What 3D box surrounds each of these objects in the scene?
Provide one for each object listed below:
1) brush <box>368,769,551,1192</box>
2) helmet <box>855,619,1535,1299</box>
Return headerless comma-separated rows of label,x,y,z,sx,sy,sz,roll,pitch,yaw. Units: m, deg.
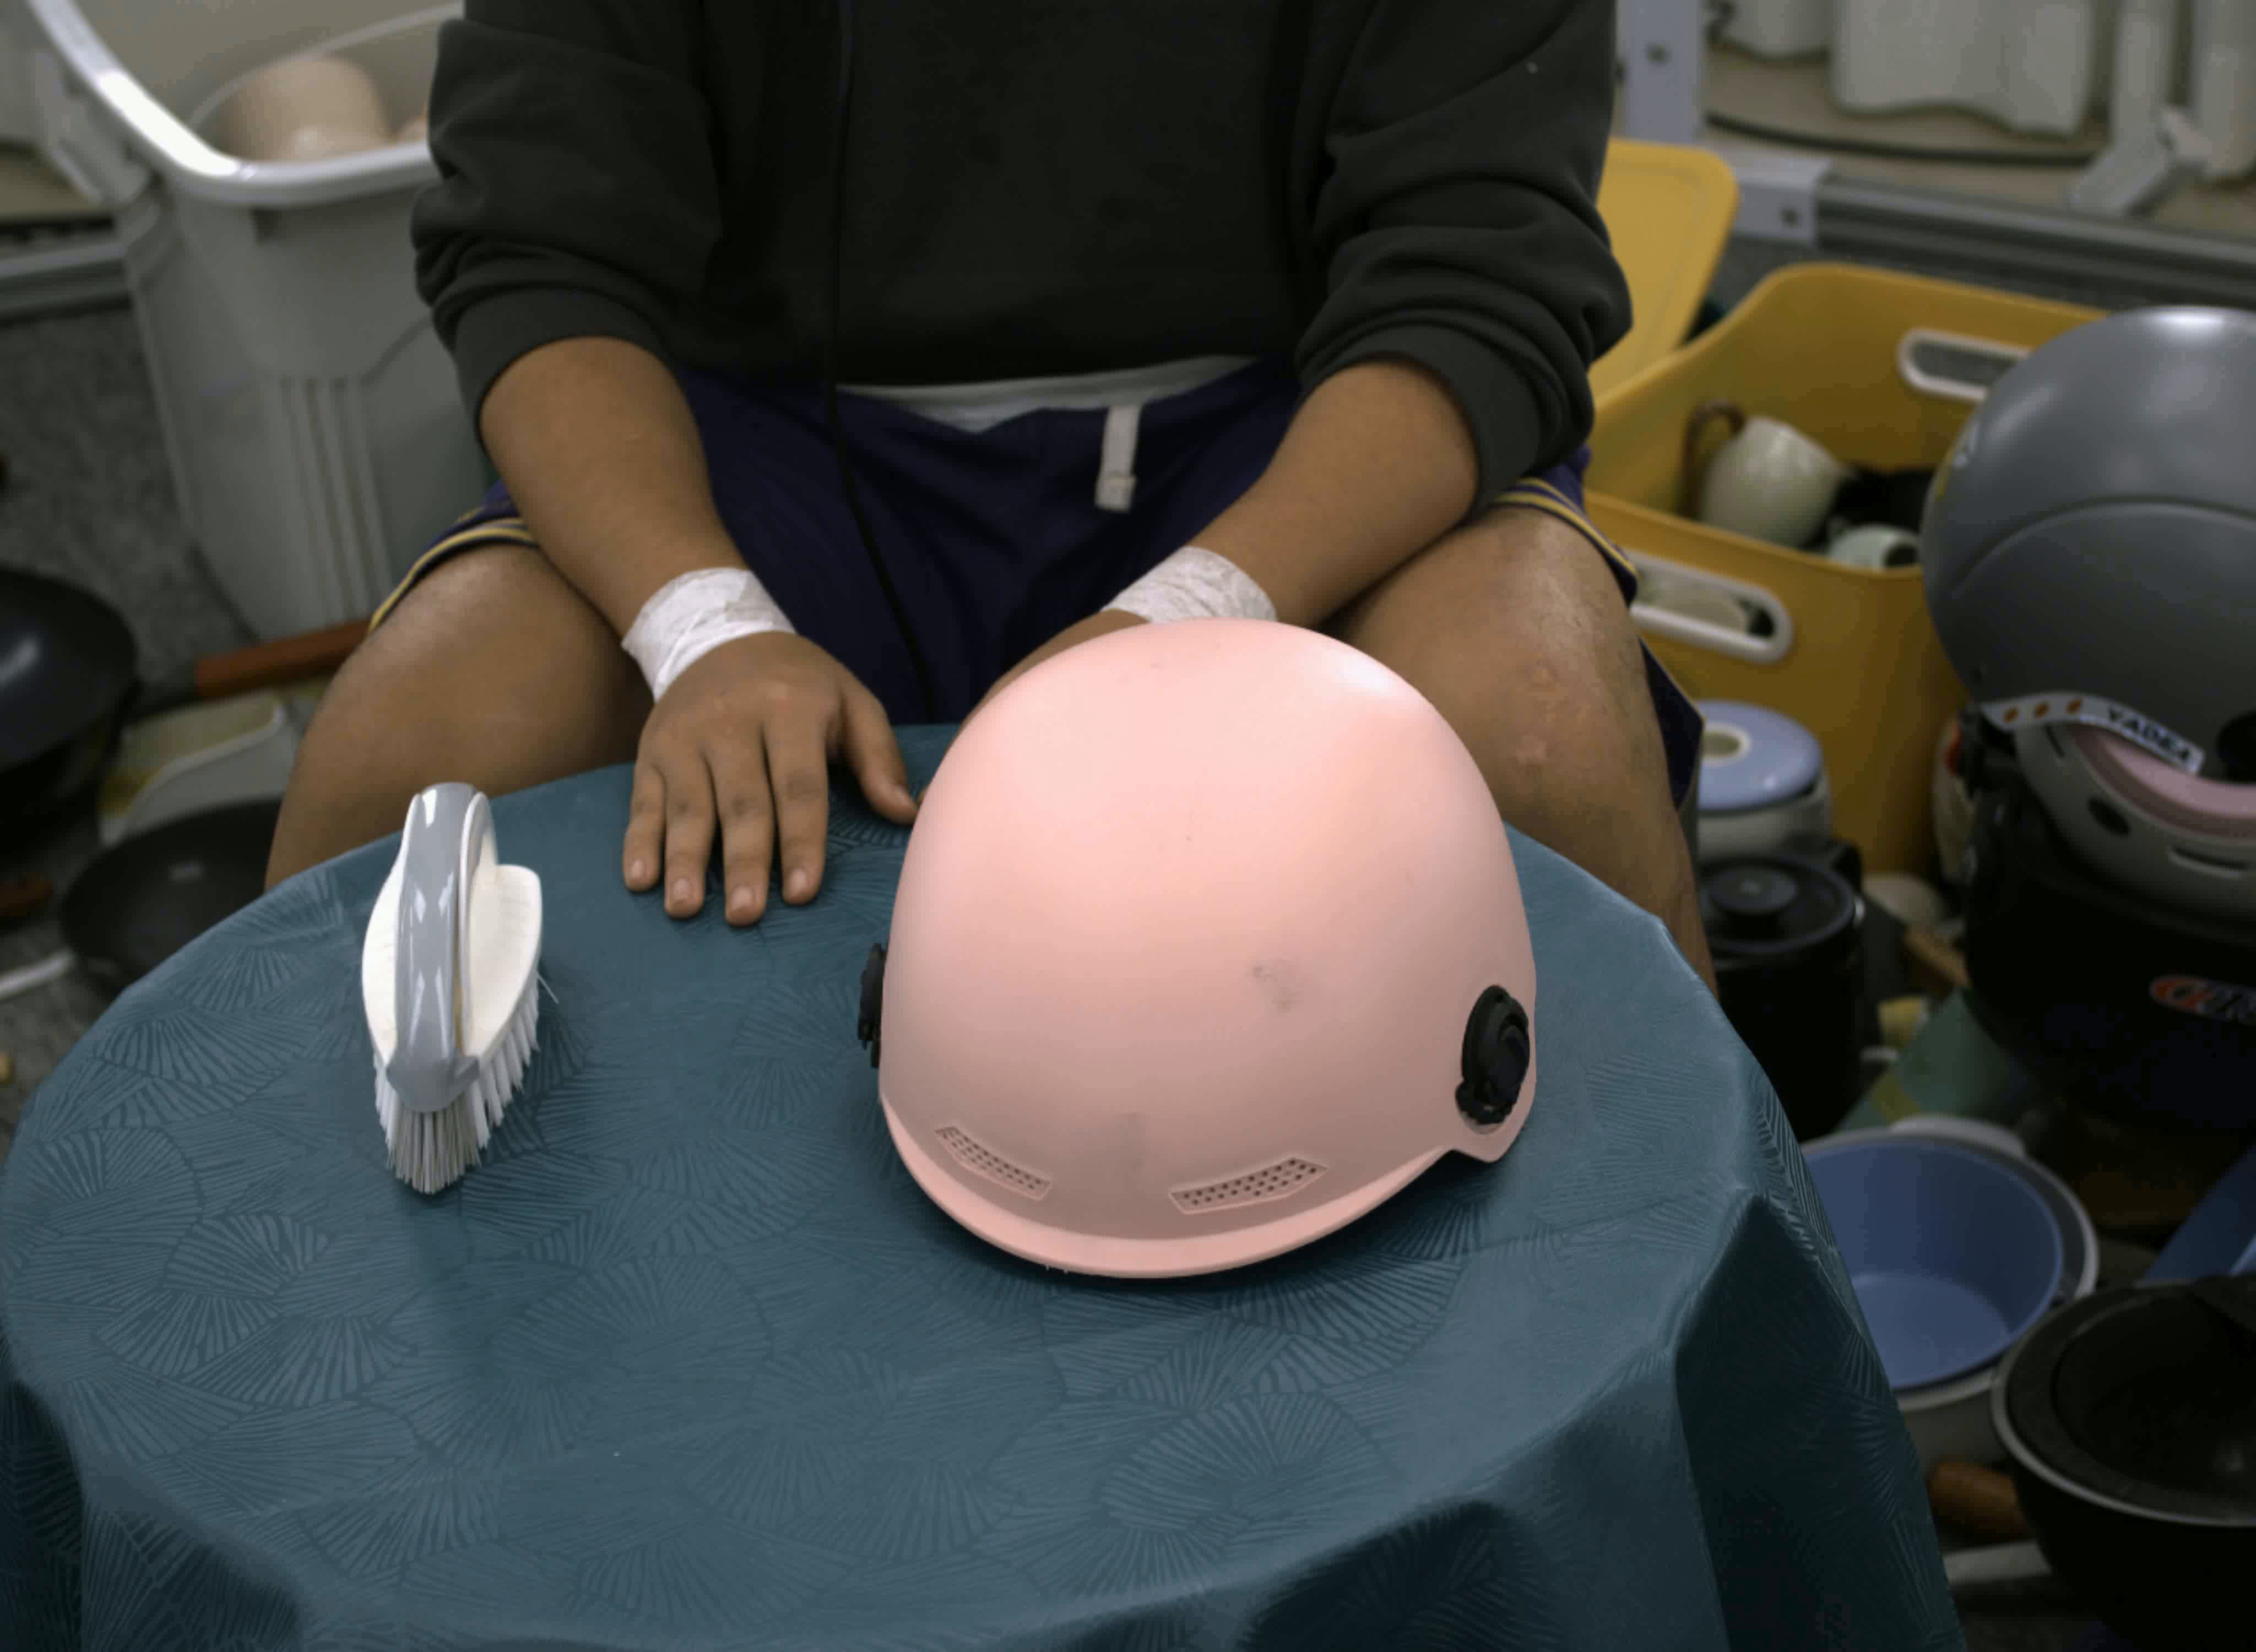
brush,-0.234,0.045,1.935,0.061,0.093,0.178,-3,29,0
helmet,0.022,0.025,1.885,0.232,0.157,0.271,5,32,13
